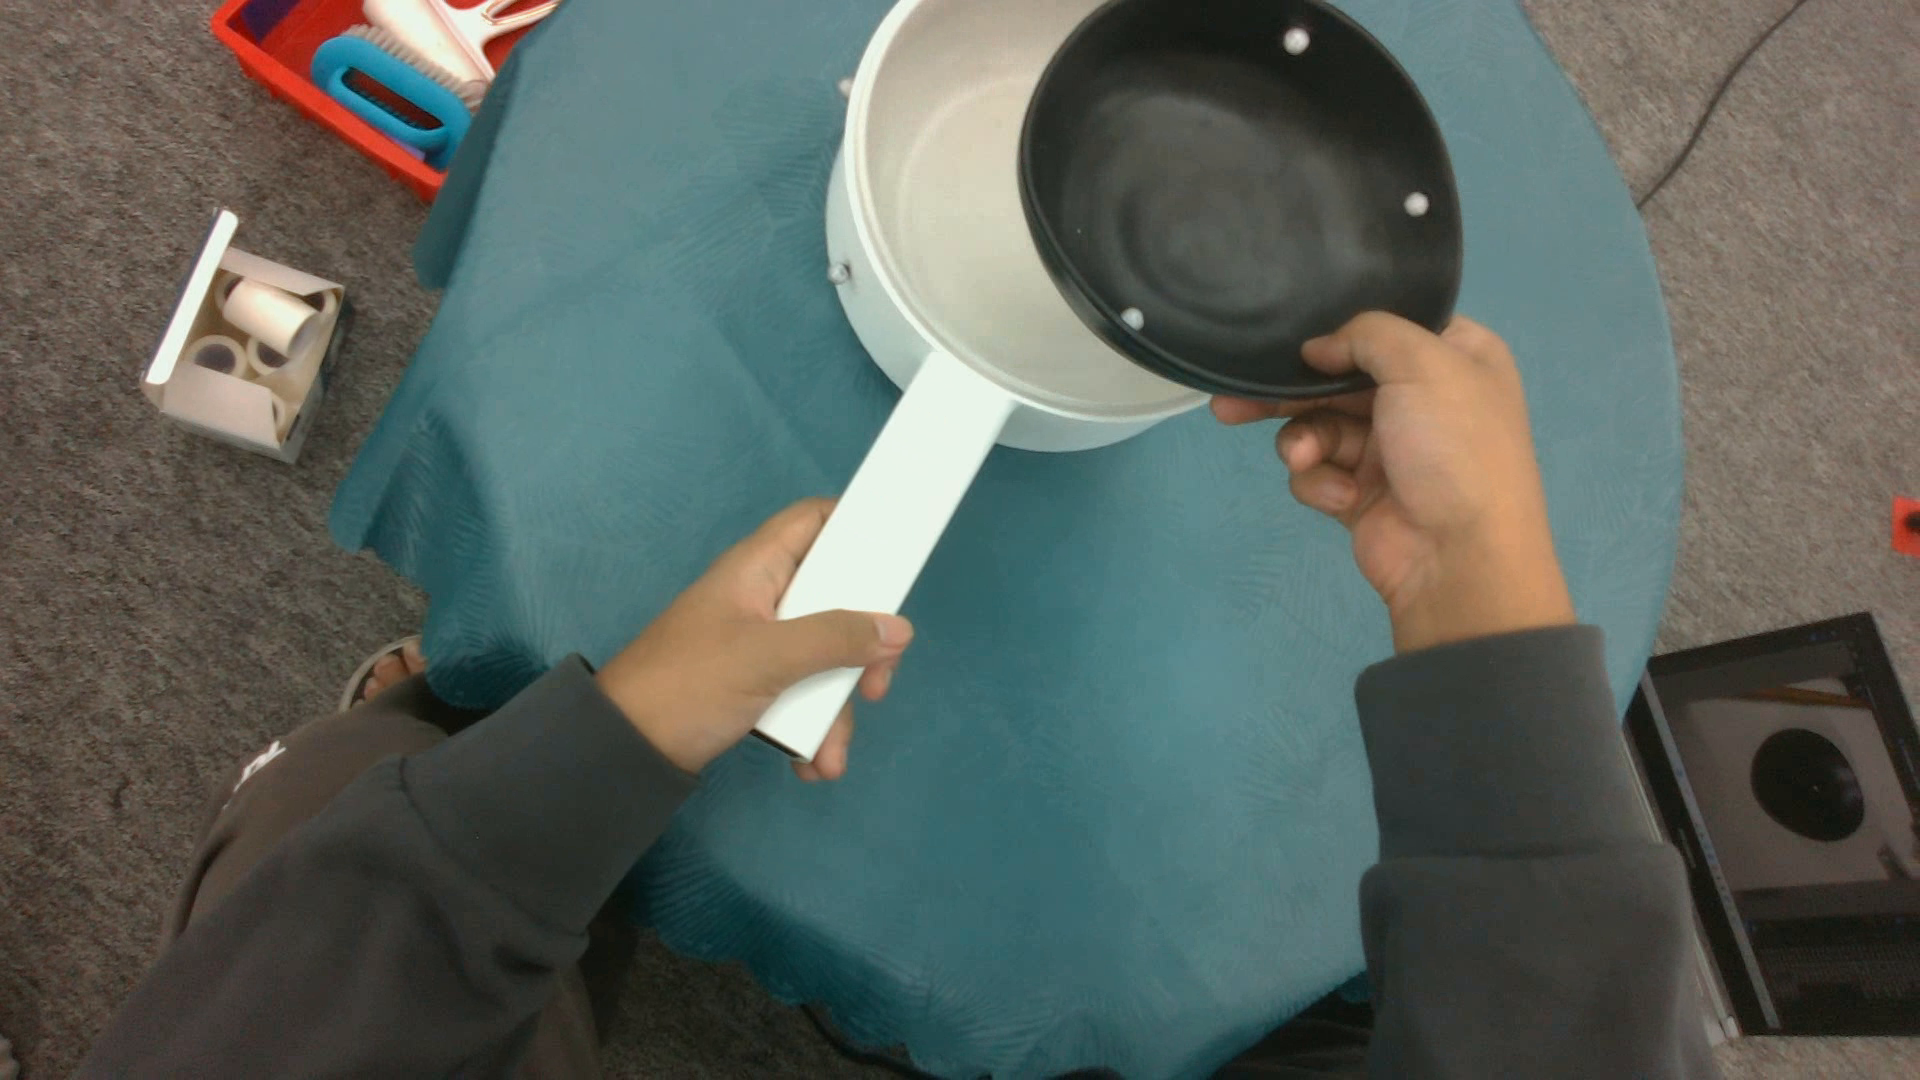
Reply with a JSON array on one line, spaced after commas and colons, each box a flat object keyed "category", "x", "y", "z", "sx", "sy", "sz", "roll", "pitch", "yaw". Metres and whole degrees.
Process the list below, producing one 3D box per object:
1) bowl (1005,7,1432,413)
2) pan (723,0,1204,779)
[{"category": "bowl", "x": 0.088, "y": -0.109, "z": 0.490, "sx": 0.170, "sy": 0.066, "sz": 0.137, "roll": 9, "pitch": 81, "yaw": -19}, {"category": "pan", "x": 0.000, "y": -0.067, "z": 0.586, "sx": 0.201, "sy": 0.102, "sz": 0.355, "roll": 29, "pitch": 76, "yaw": -9}]
